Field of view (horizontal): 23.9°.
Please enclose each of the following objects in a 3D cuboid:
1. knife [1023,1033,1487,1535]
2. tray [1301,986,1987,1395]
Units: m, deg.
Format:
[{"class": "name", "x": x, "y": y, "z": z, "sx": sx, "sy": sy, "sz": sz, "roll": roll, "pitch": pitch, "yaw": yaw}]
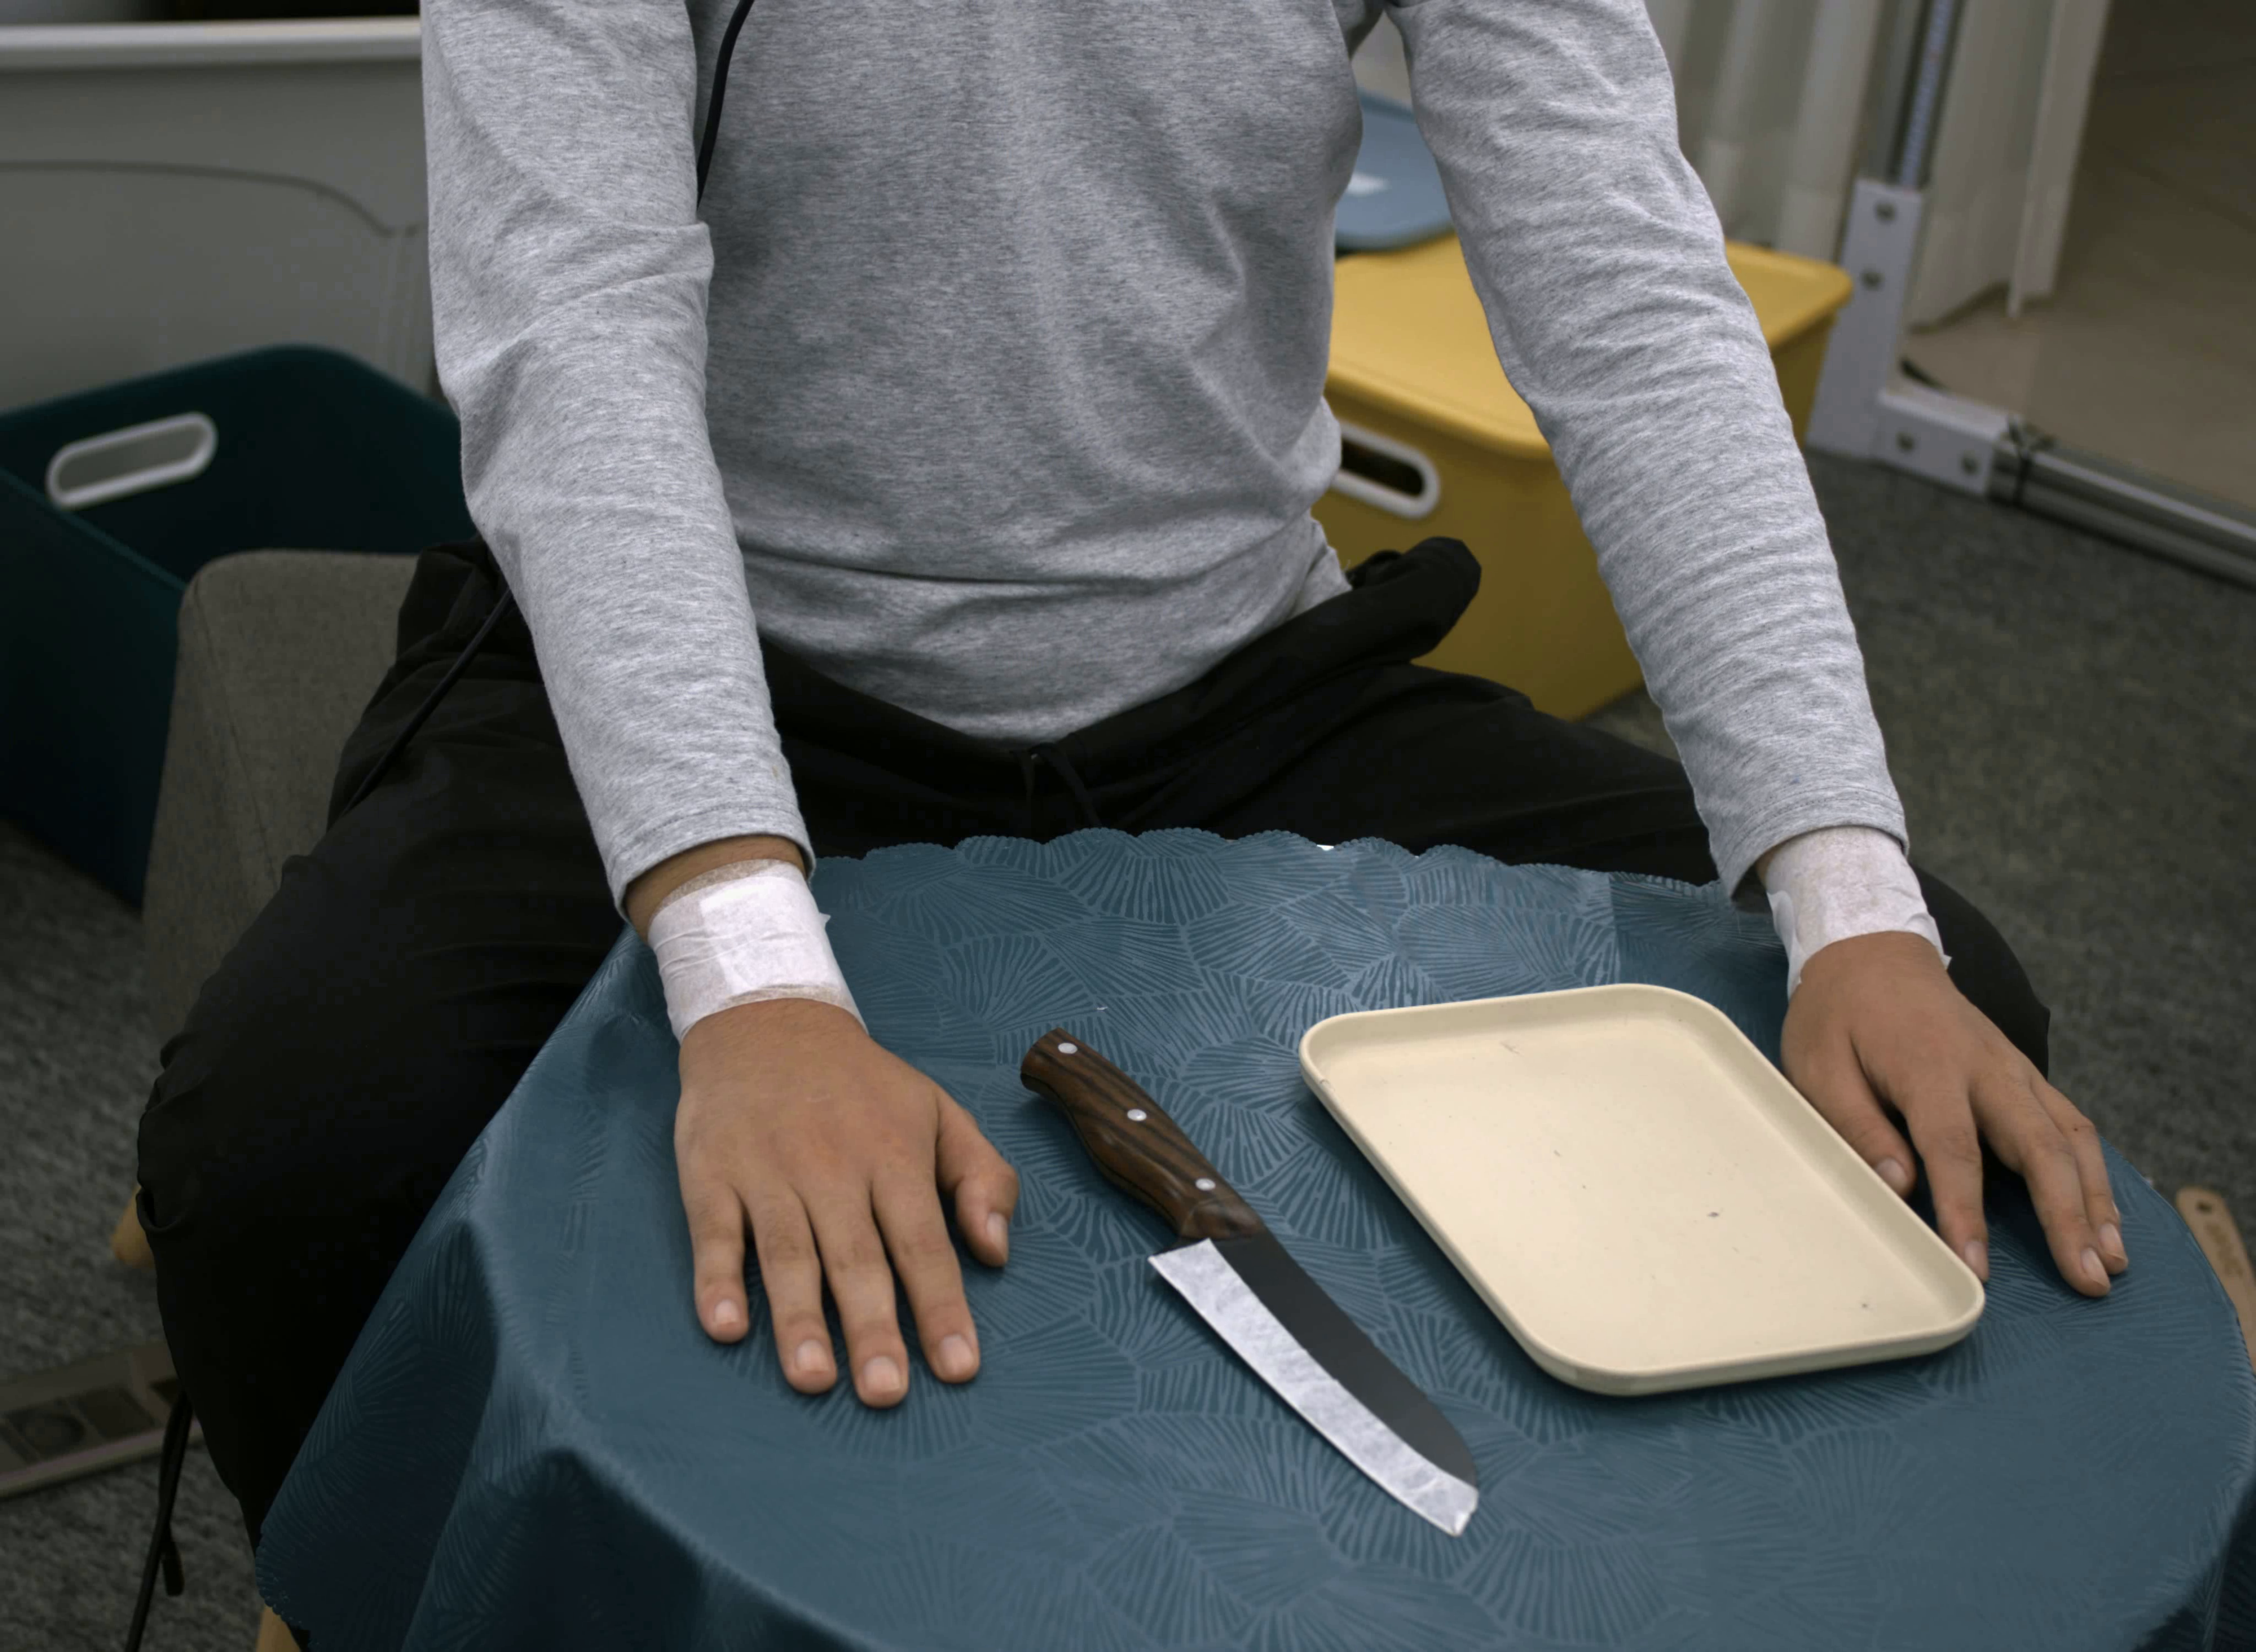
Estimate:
[{"class": "knife", "x": 0.038, "y": 0.149, "z": 1.749, "sx": 0.050, "sy": 0.020, "sz": 0.292, "roll": -13, "pitch": 35, "yaw": -24}, {"class": "tray", "x": 0.173, "y": 0.123, "z": 1.826, "sx": 0.170, "sy": 0.017, "sz": 0.242, "roll": -5, "pitch": 28, "yaw": -22}]
